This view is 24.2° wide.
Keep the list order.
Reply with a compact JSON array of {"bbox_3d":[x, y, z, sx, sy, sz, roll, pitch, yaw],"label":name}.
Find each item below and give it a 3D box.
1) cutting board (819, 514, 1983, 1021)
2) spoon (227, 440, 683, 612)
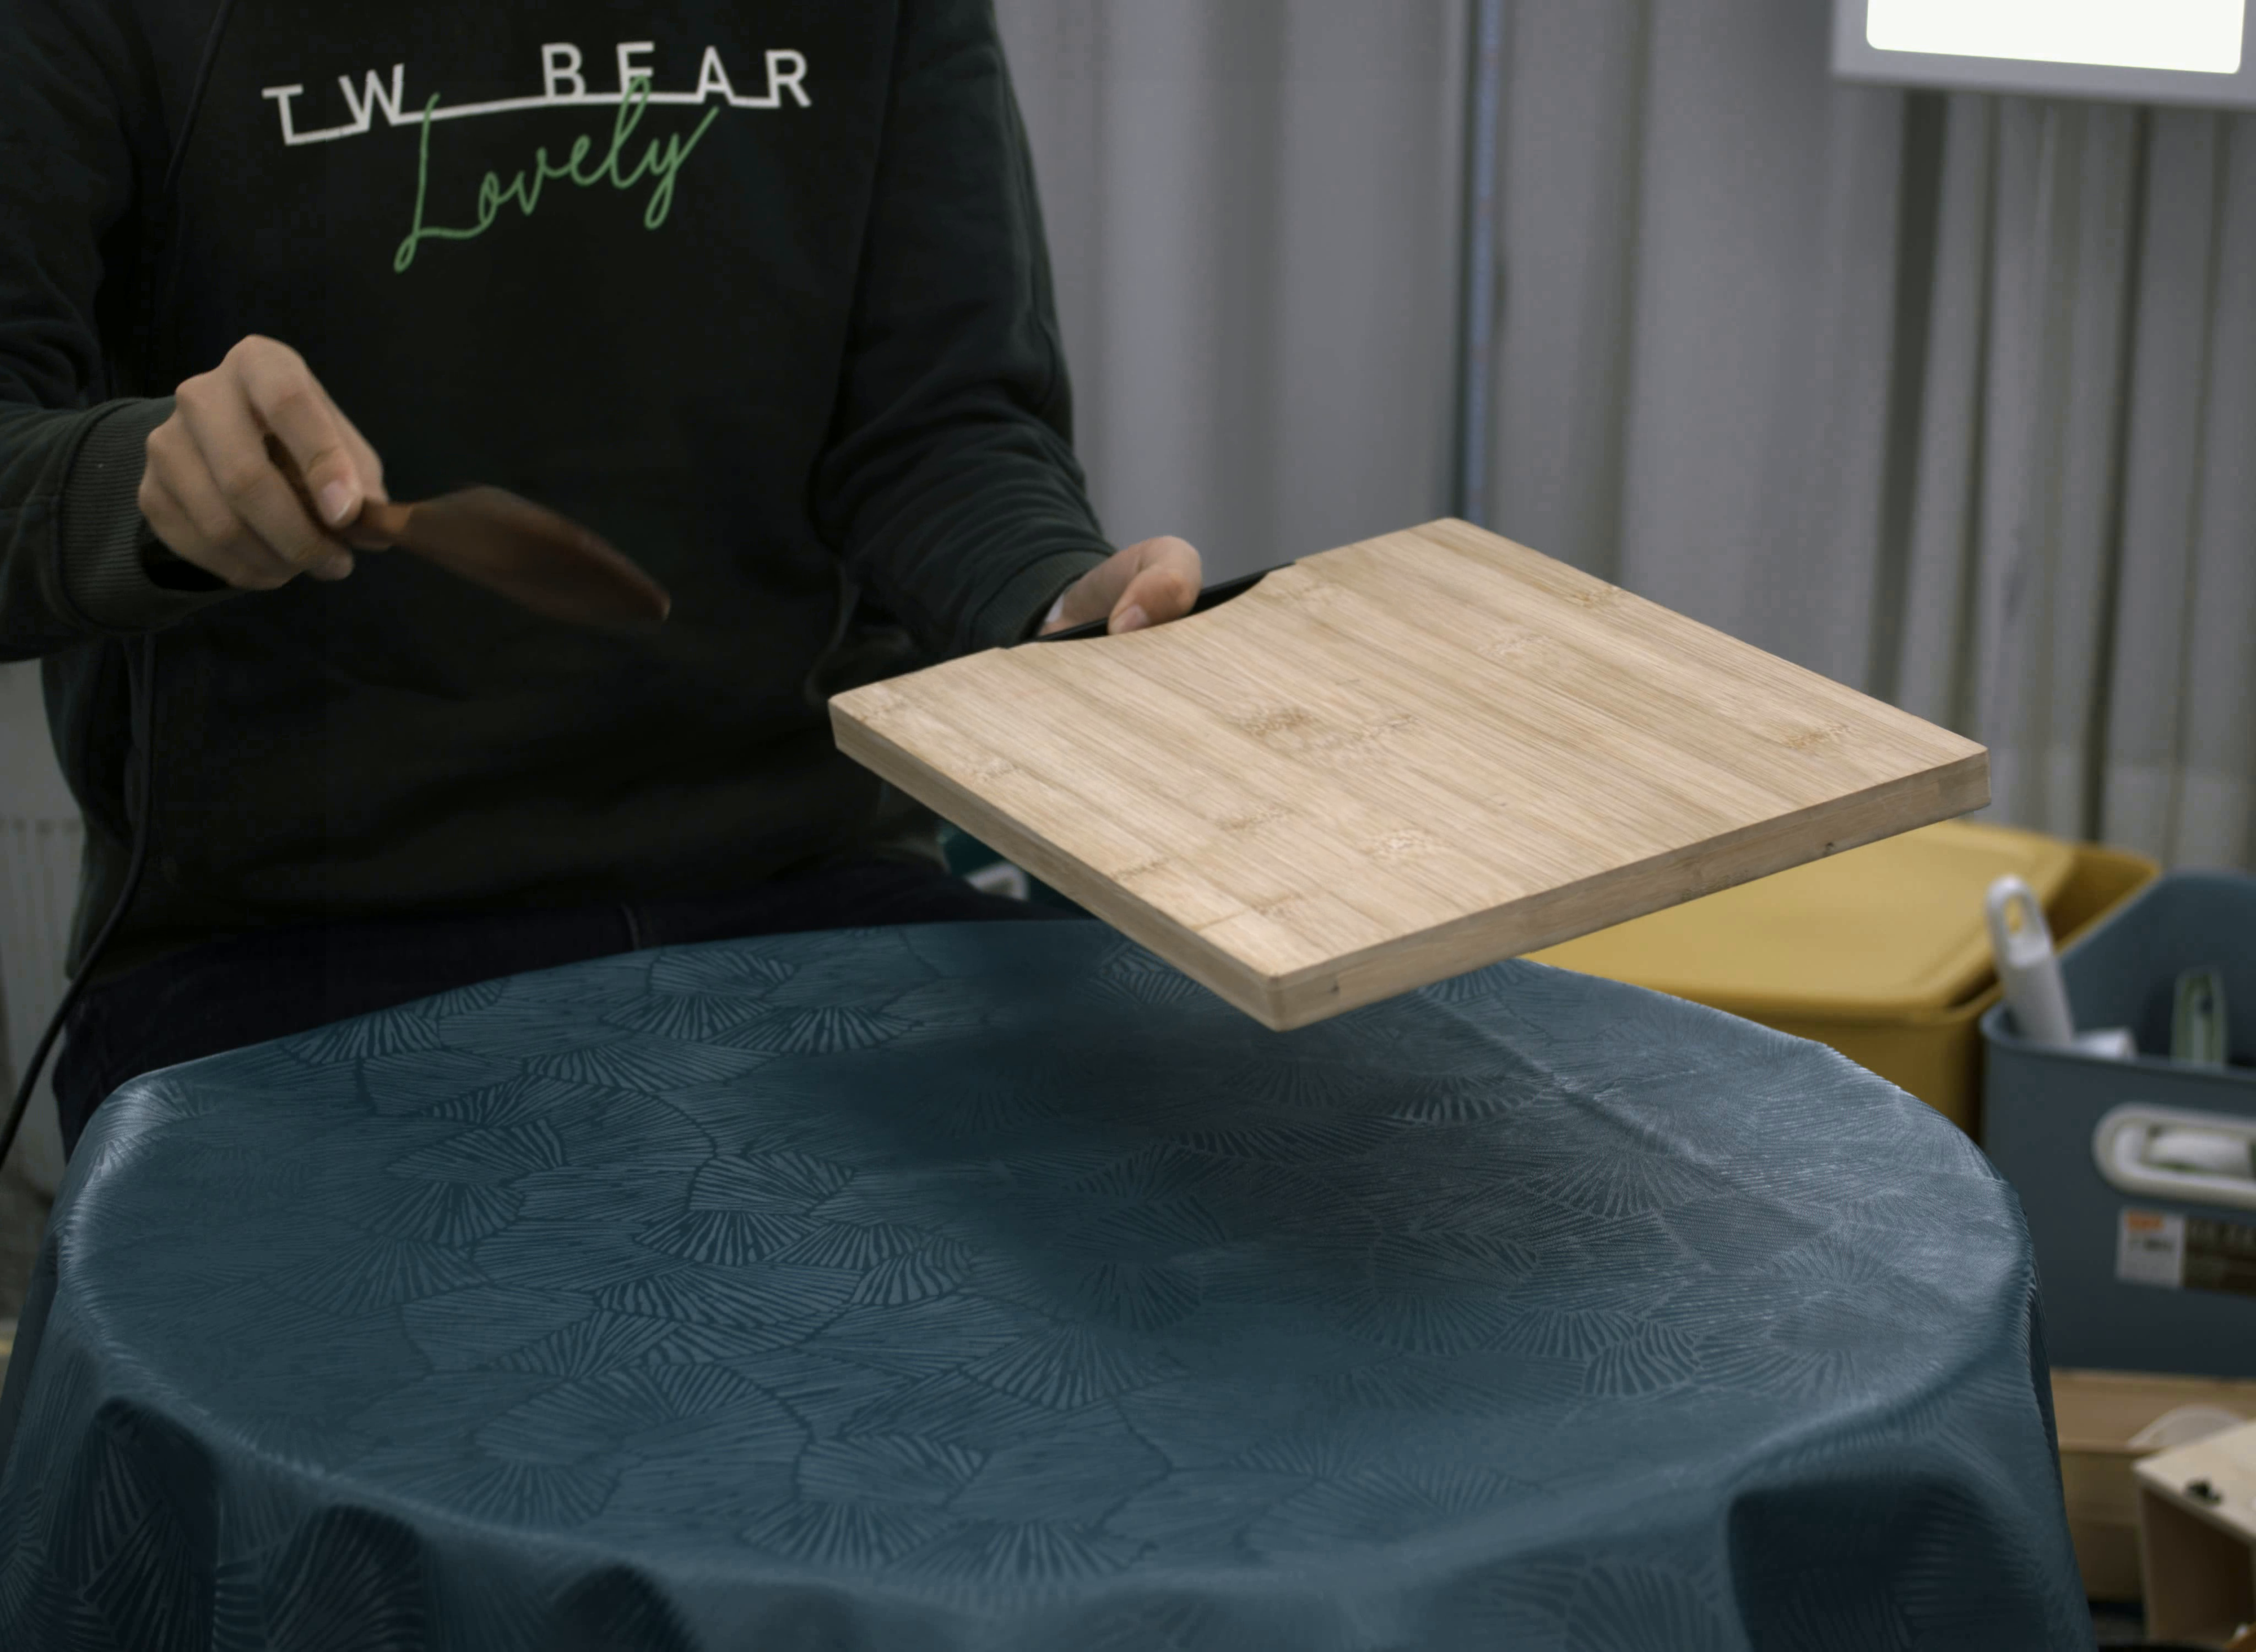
[{"bbox_3d":[0.075,-0.026,1.661,0.251,0.024,0.344,-16,22,-22],"label":"cutting board"},{"bbox_3d":[-0.206,-0.091,1.551,0.076,0.017,0.213,33,-11,-39],"label":"spoon"}]
